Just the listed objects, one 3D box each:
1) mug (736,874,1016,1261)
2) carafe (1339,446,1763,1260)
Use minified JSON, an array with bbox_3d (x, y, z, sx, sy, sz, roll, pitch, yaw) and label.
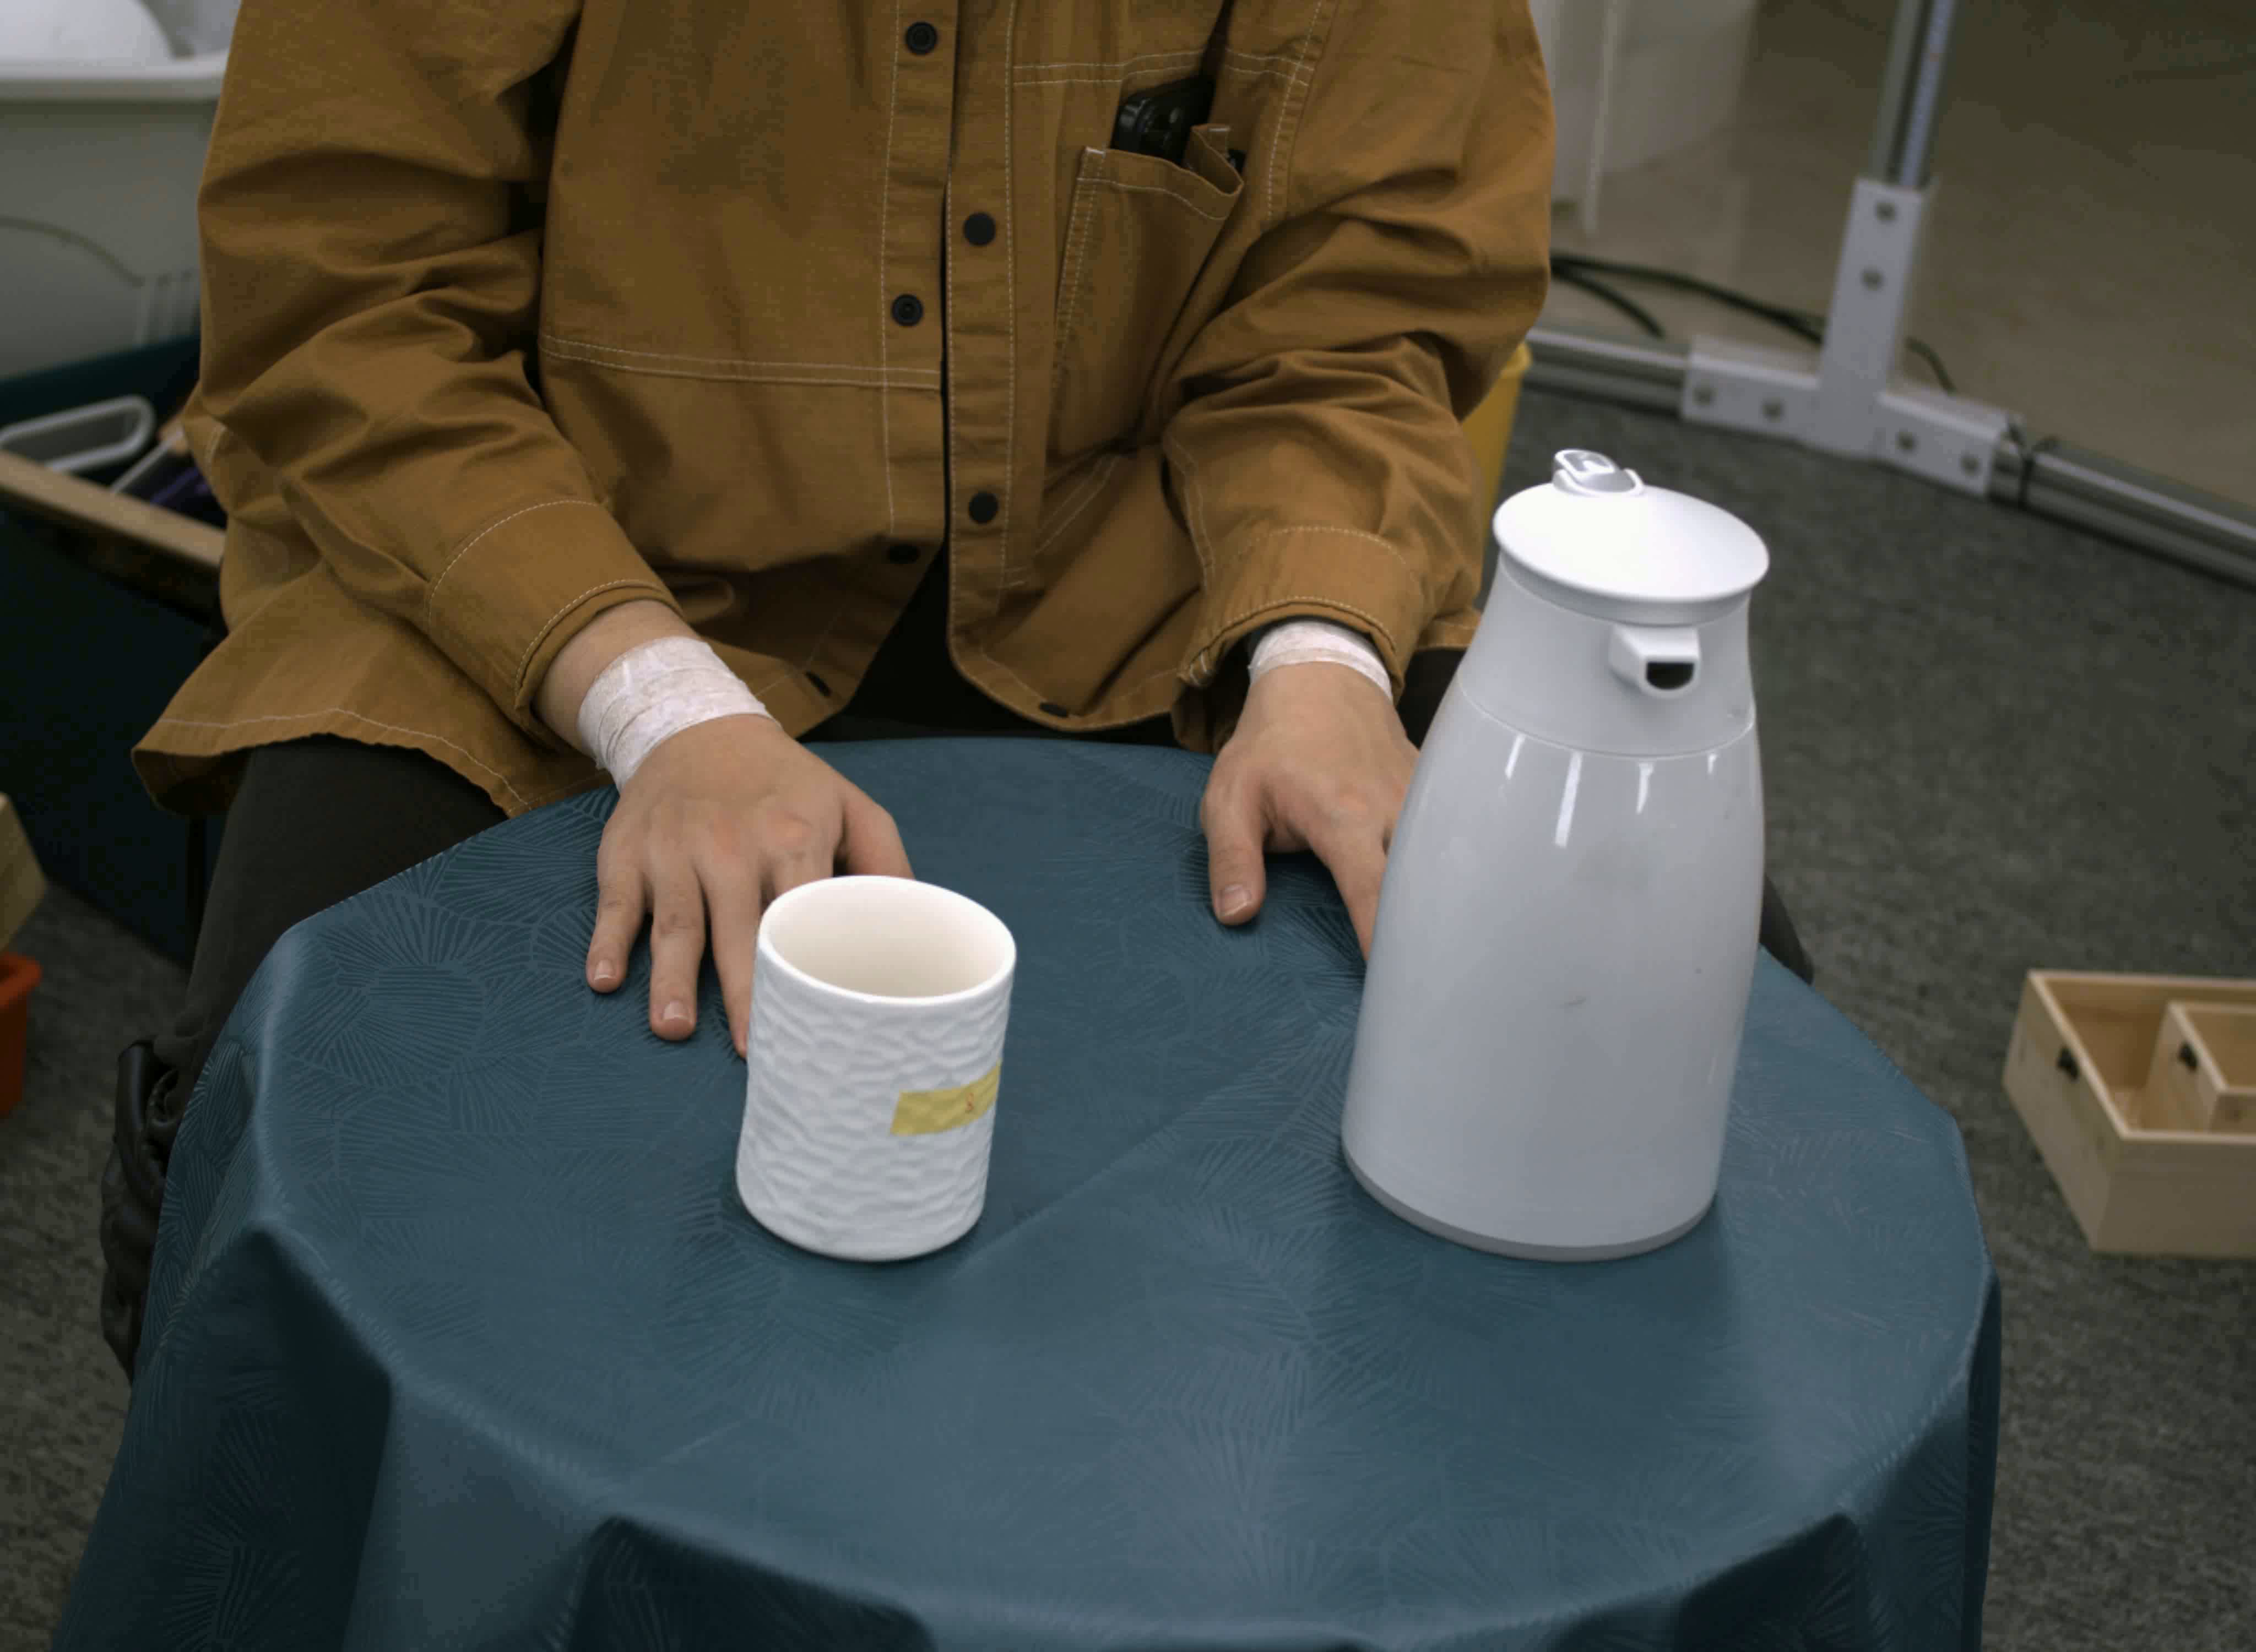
[{"bbox_3d":[-0.091,0.074,1.771,0.084,0.101,0.119,-5,28,-24],"label":"mug"},{"bbox_3d":[0.146,-0.001,1.811,0.132,0.248,0.169,0,27,-12],"label":"carafe"}]
